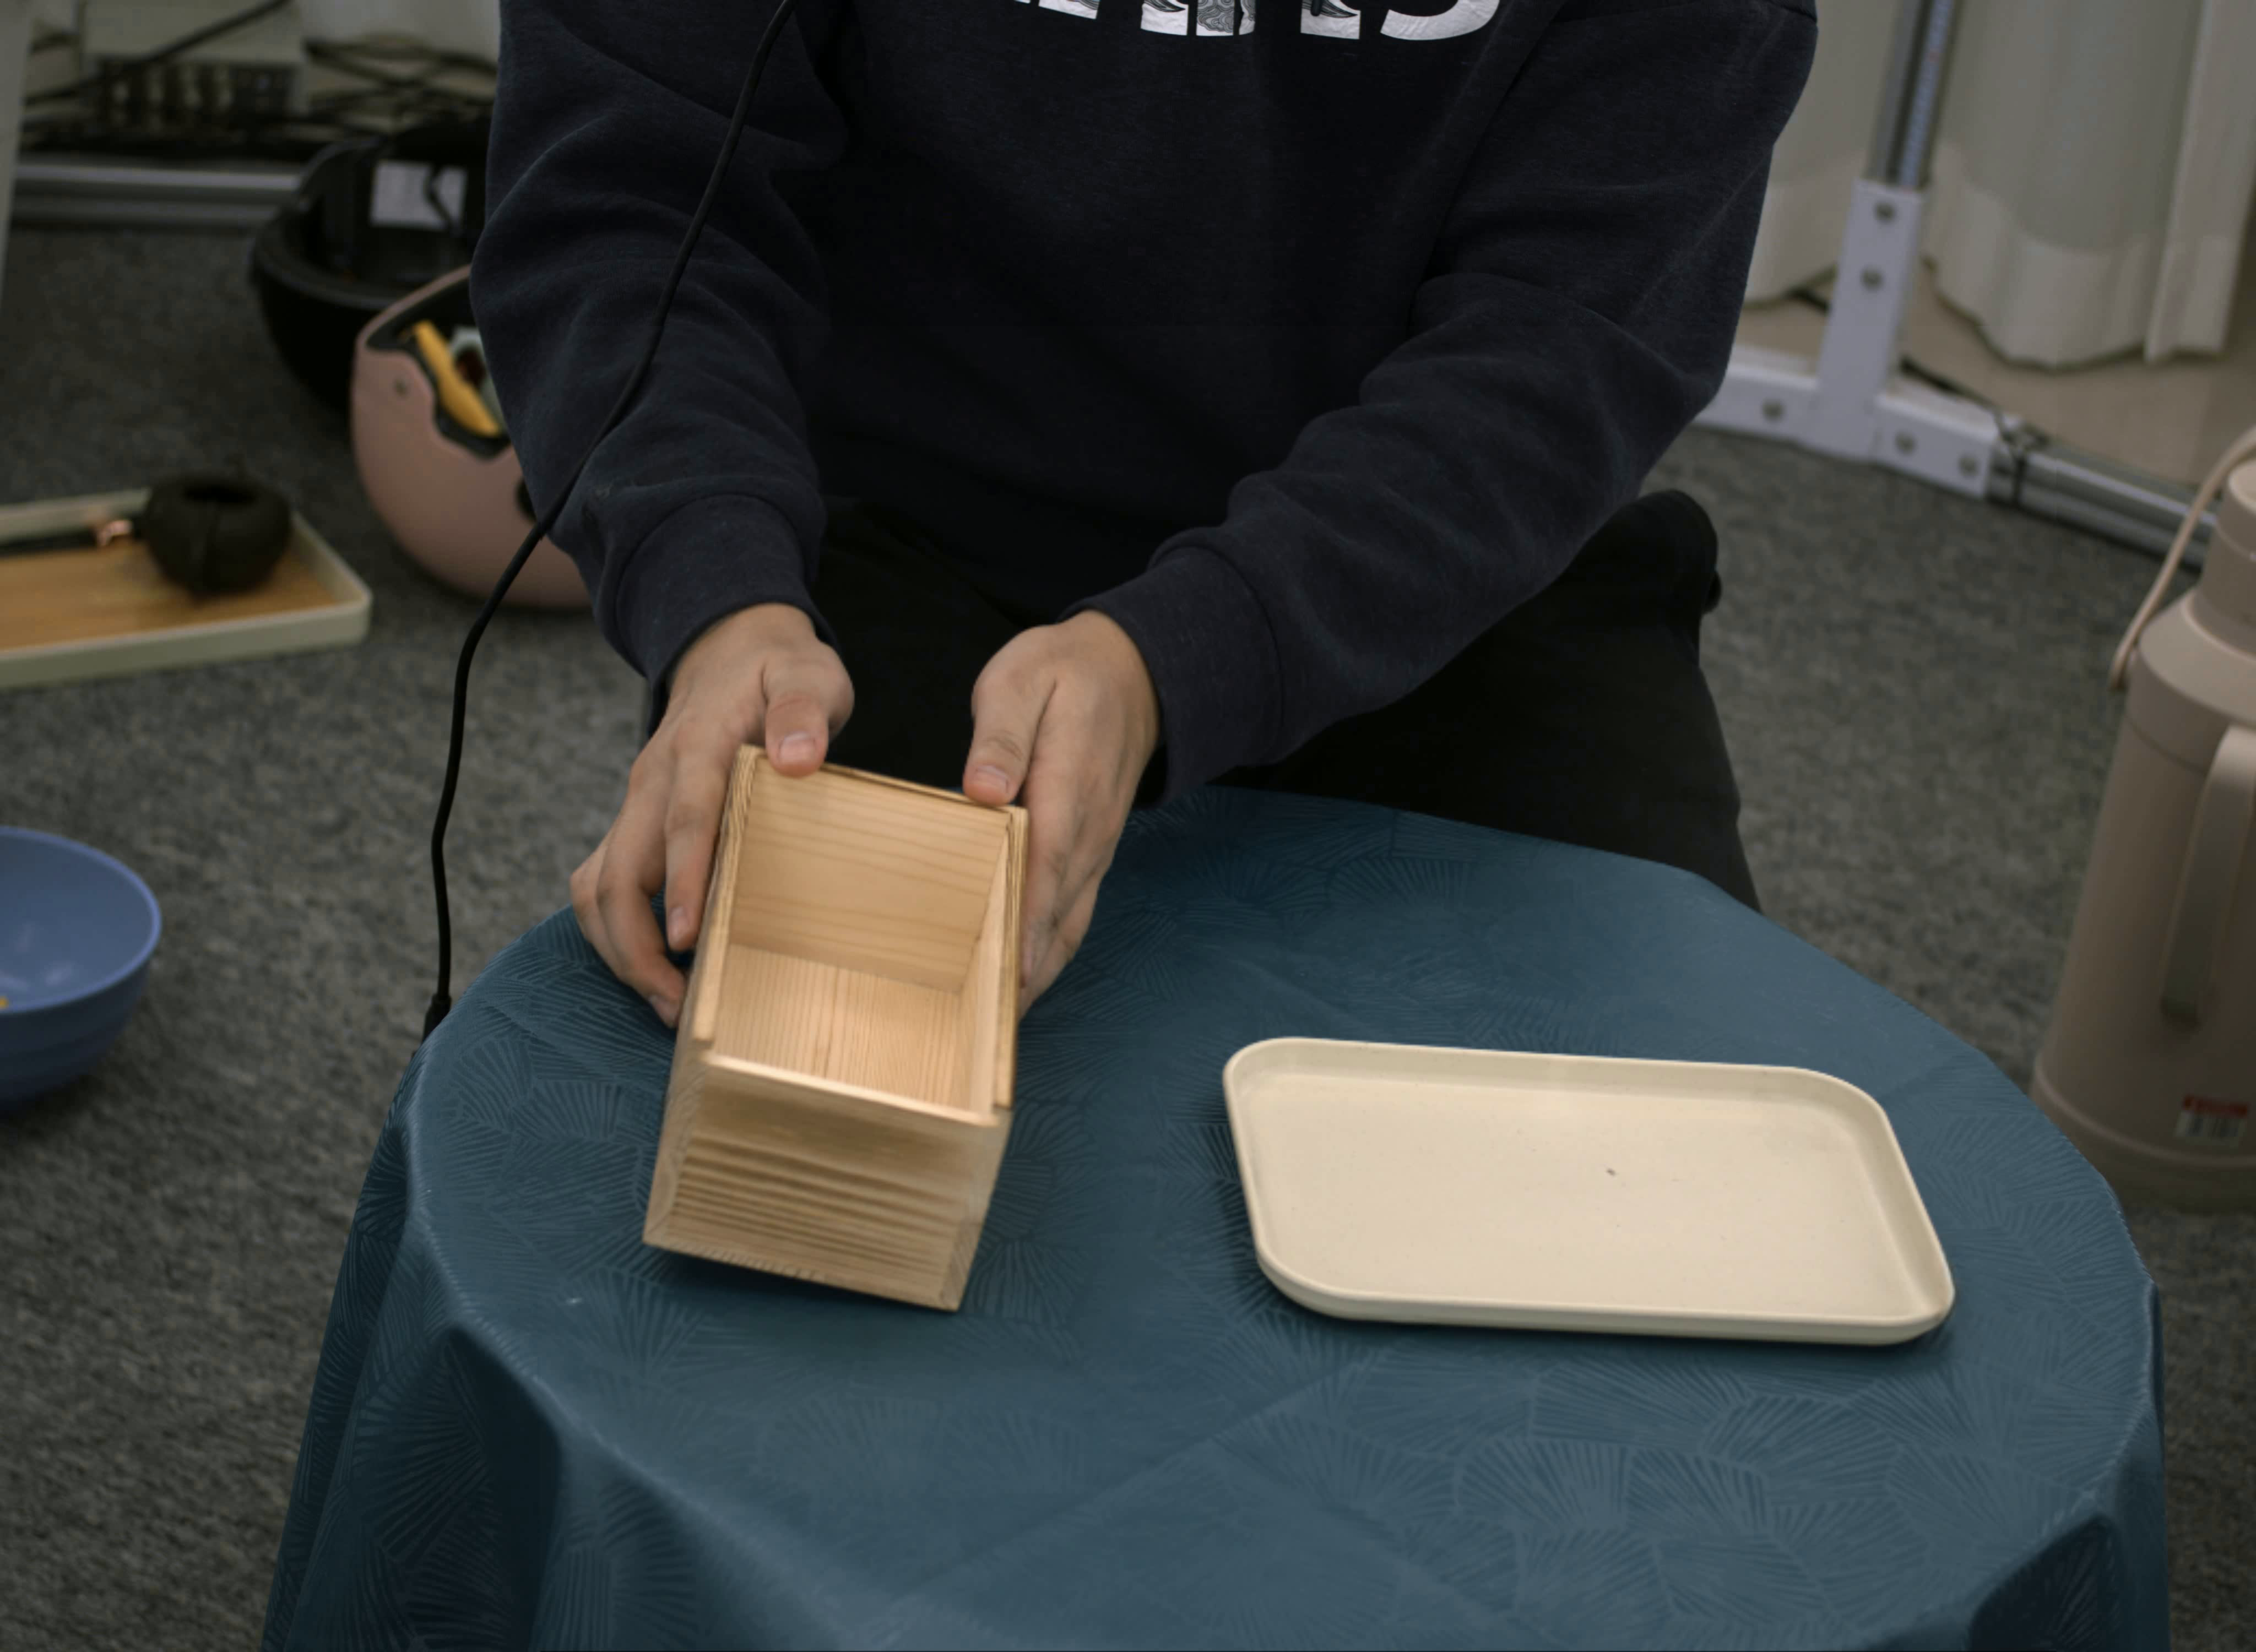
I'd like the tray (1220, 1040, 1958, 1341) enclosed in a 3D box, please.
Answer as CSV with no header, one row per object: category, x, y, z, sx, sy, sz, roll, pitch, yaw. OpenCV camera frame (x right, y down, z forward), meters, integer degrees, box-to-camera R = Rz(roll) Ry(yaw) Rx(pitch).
tray,0.154,0.126,1.820,0.238,0.017,0.172,3,26,-7

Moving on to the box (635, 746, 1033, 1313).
box,-0.096,0.065,1.795,0.107,0.080,0.212,13,27,-5
